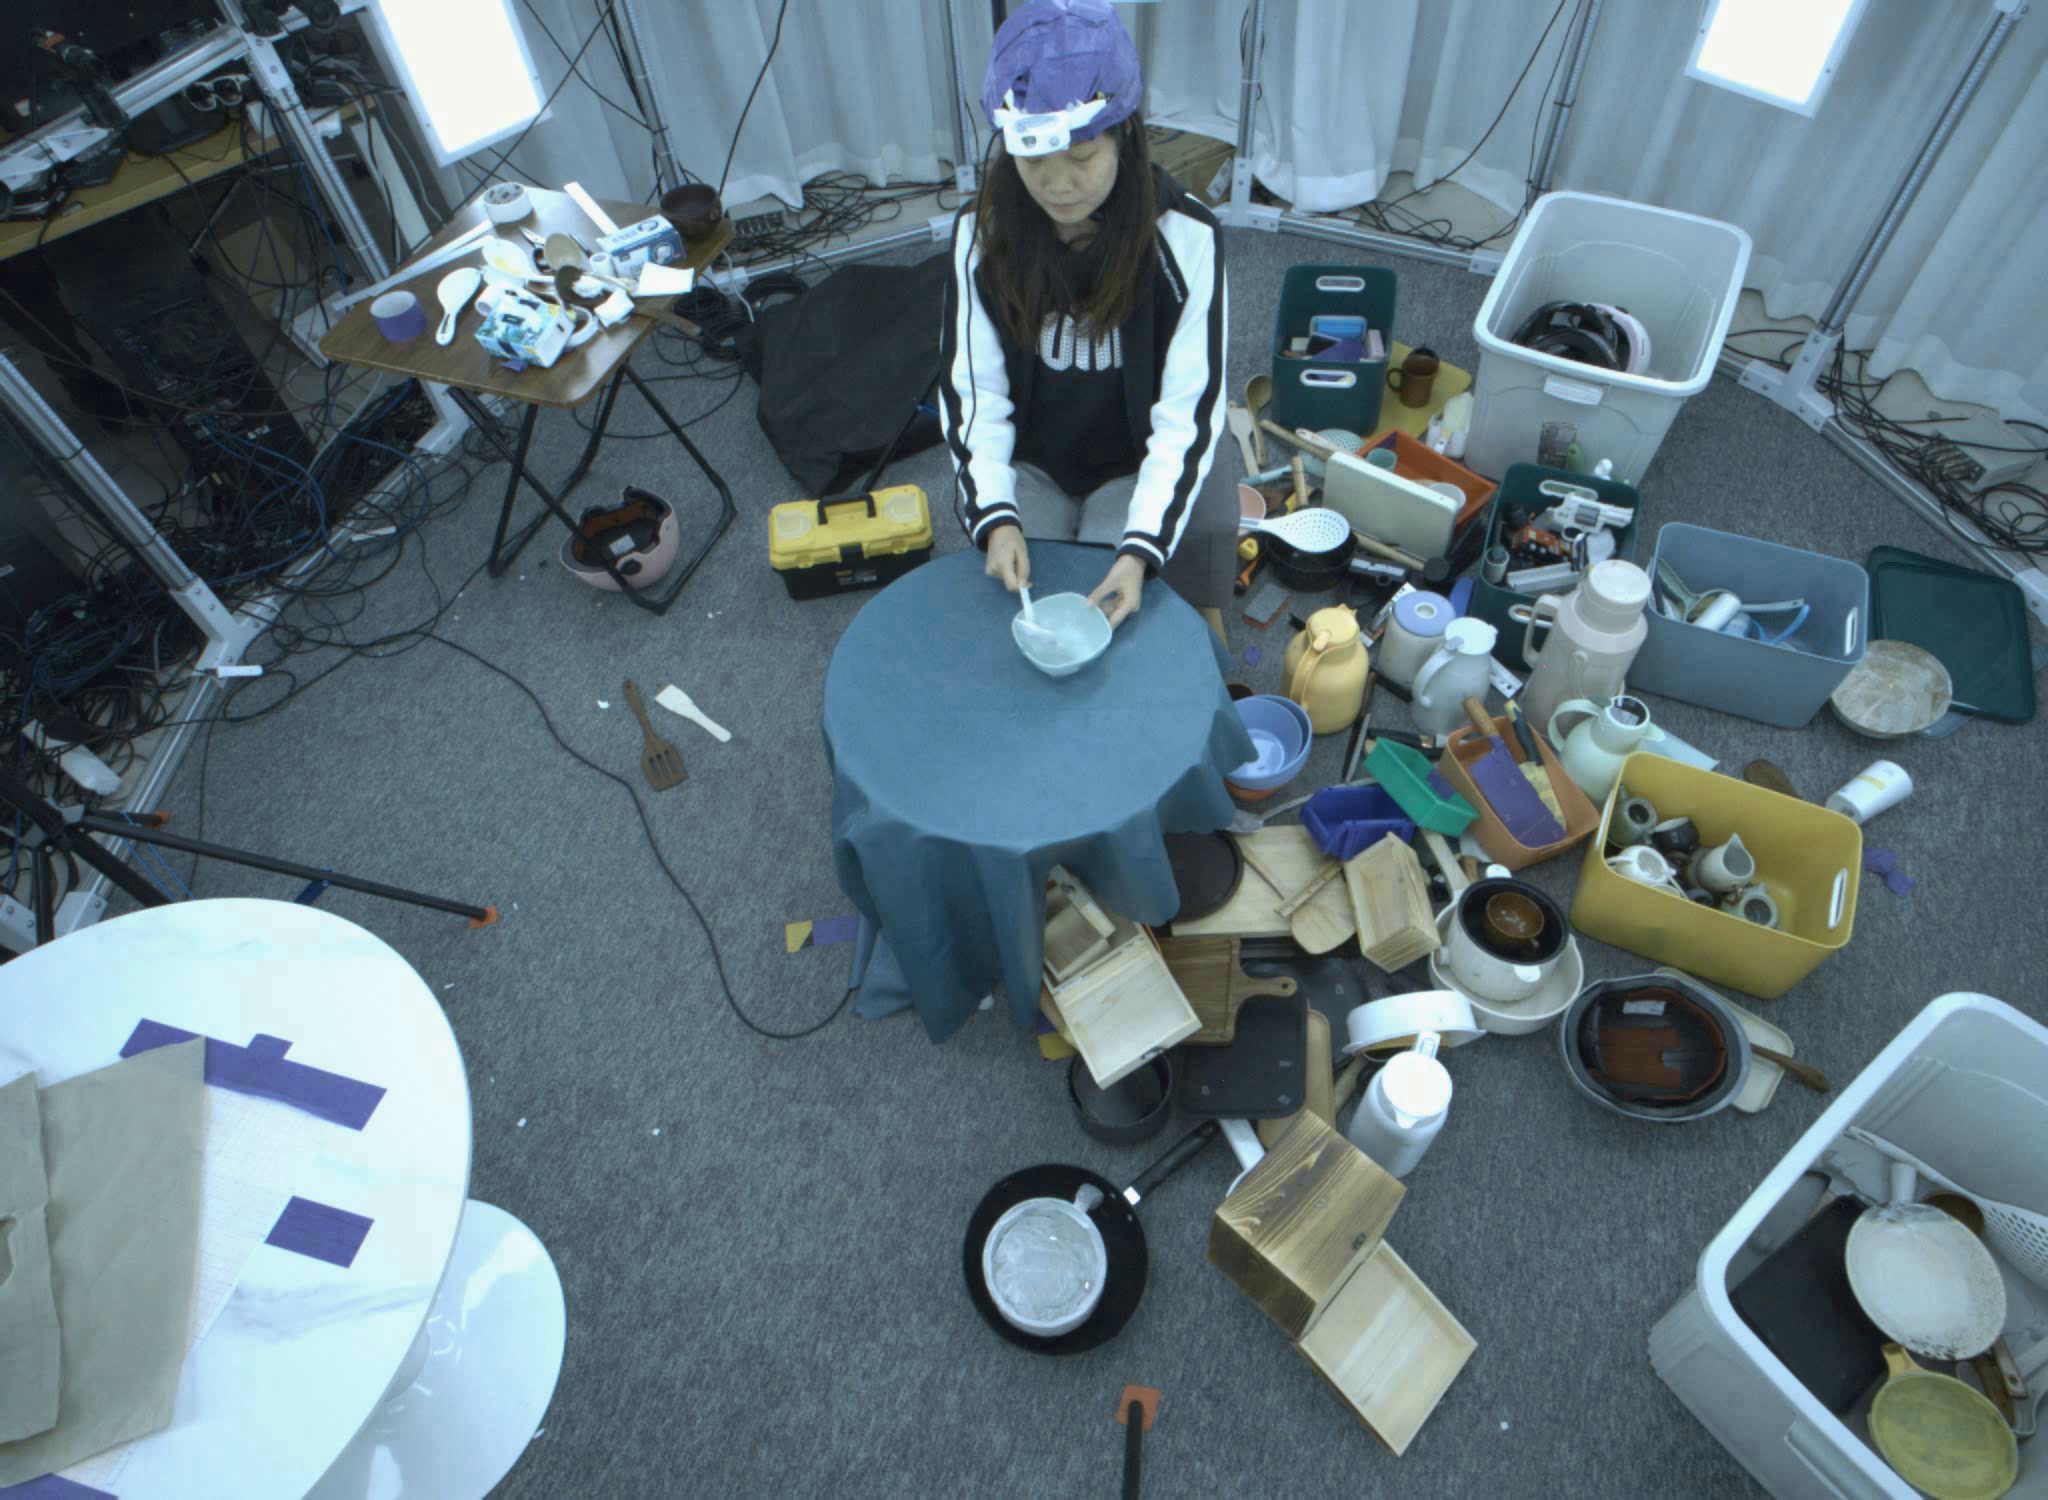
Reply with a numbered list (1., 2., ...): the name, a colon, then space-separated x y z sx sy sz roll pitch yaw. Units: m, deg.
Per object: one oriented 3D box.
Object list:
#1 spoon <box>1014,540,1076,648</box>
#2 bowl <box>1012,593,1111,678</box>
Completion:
1. spoon: 0.023 -0.247 1.870 0.103 0.059 0.273 24 40 -32
2. bowl: 0.058 -0.165 1.871 0.151 0.059 0.150 0 55 2
